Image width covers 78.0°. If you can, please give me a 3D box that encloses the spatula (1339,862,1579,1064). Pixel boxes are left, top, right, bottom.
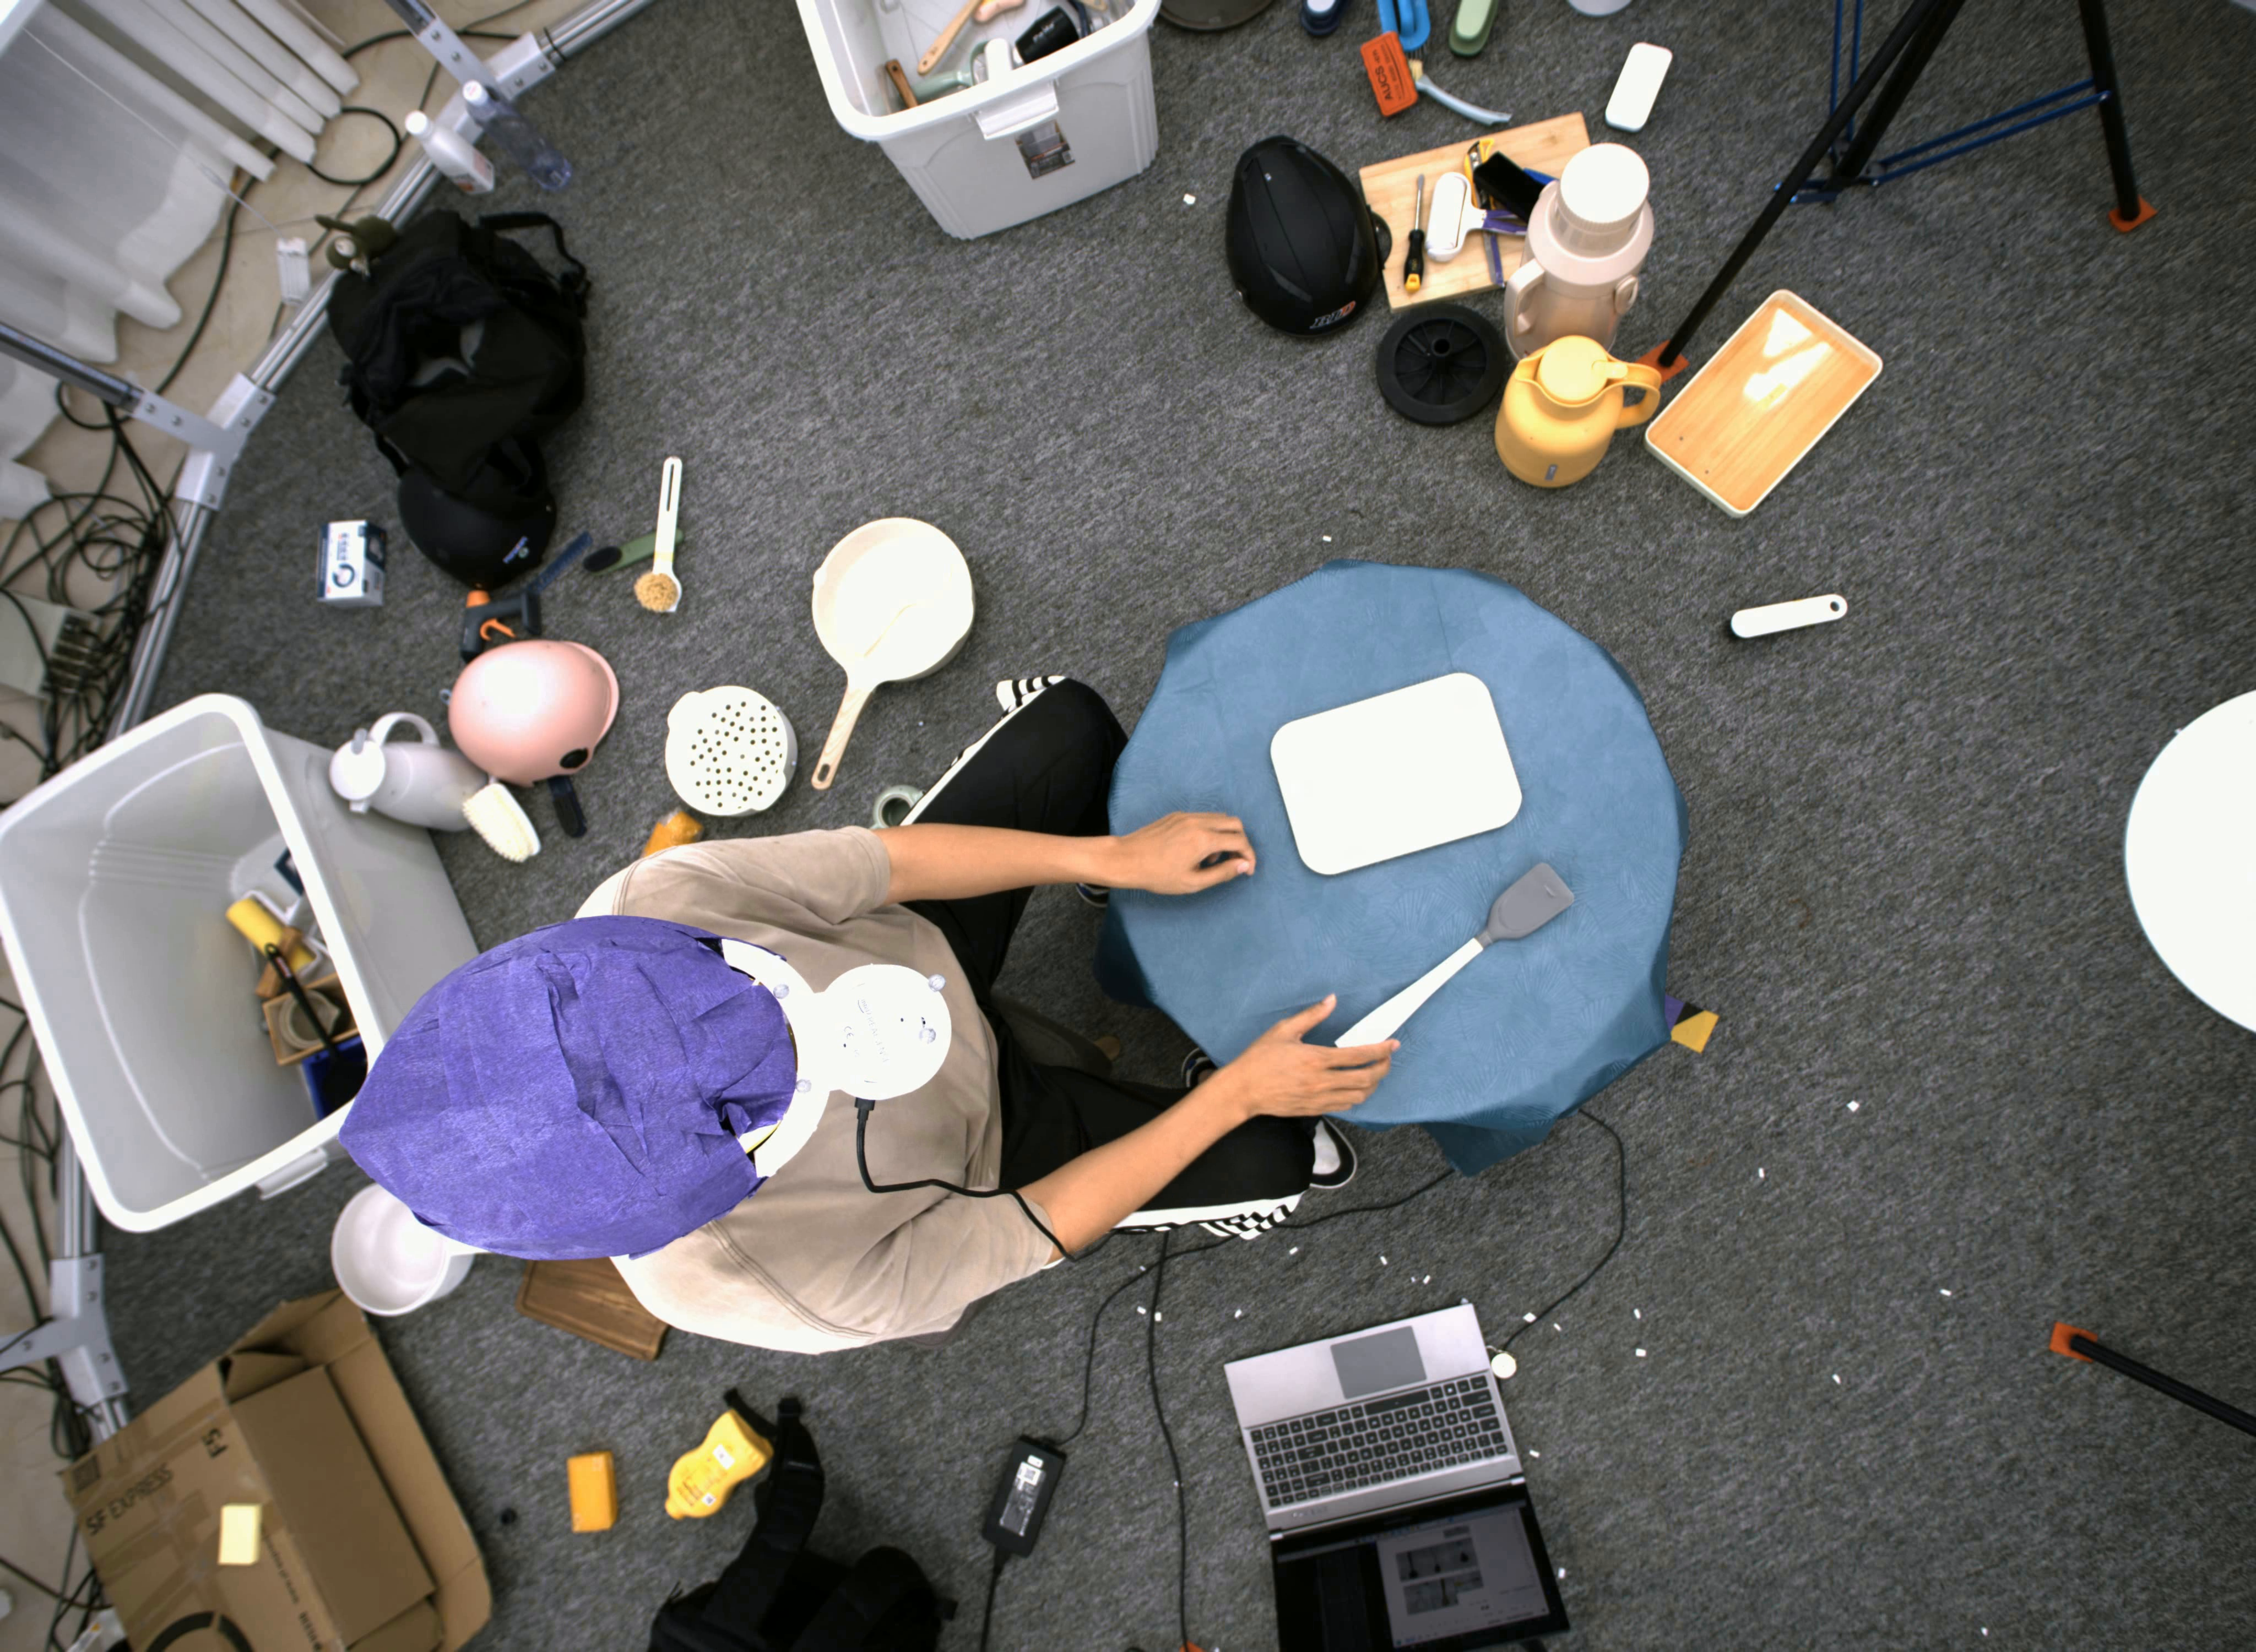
[{"bbox_3d":[0.339,0.143,1.426,0.289,0.032,0.058,-40,76,6],"label":"spatula"}]

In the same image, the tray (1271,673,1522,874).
[{"bbox_3d":[0.283,-0.056,1.458,0.241,0.017,0.170,-16,83,9],"label":"tray"}]
